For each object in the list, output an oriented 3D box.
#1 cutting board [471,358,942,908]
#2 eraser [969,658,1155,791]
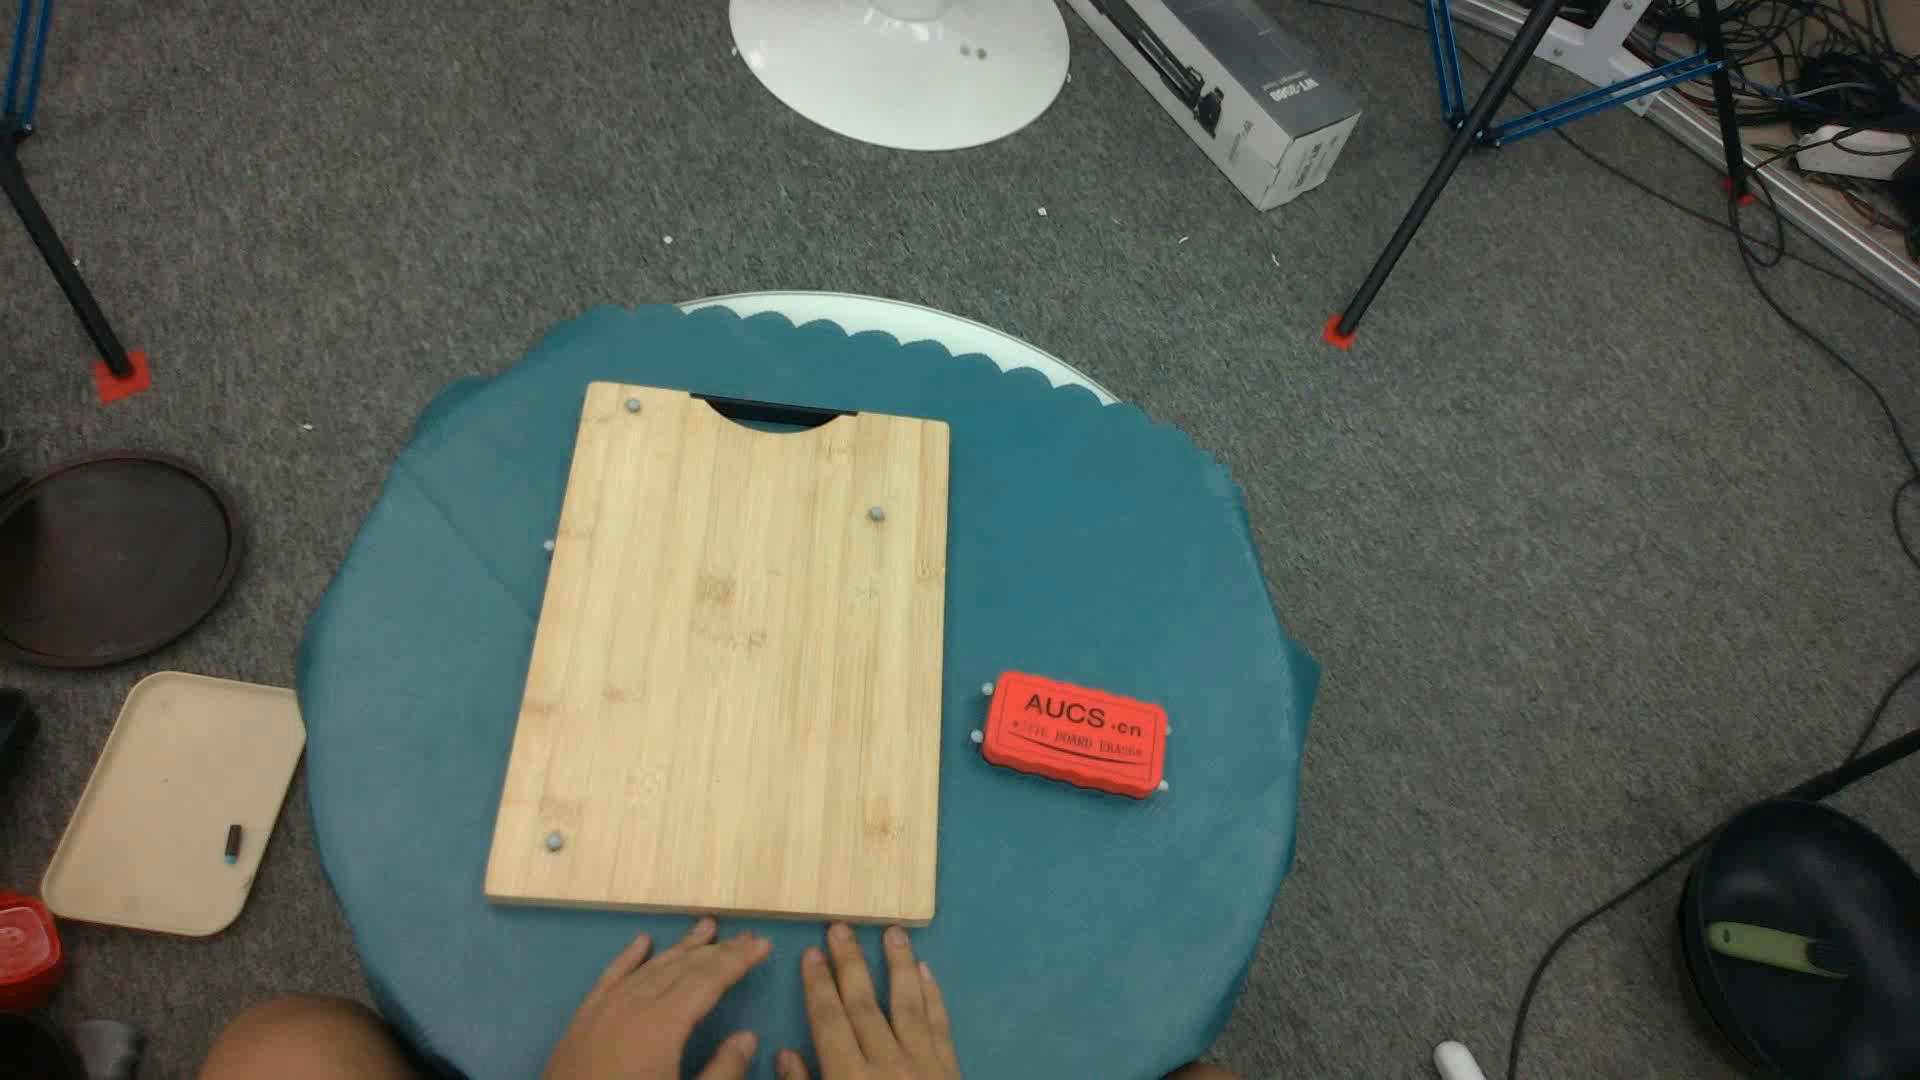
[{"bbox_3d":[-0.136,0.045,0.838,0.251,0.023,0.350,6,59,-9],"label":"cutting board"},{"bbox_3d":[0.062,0.112,0.836,0.108,0.023,0.059,15,57,-3],"label":"eraser"}]
